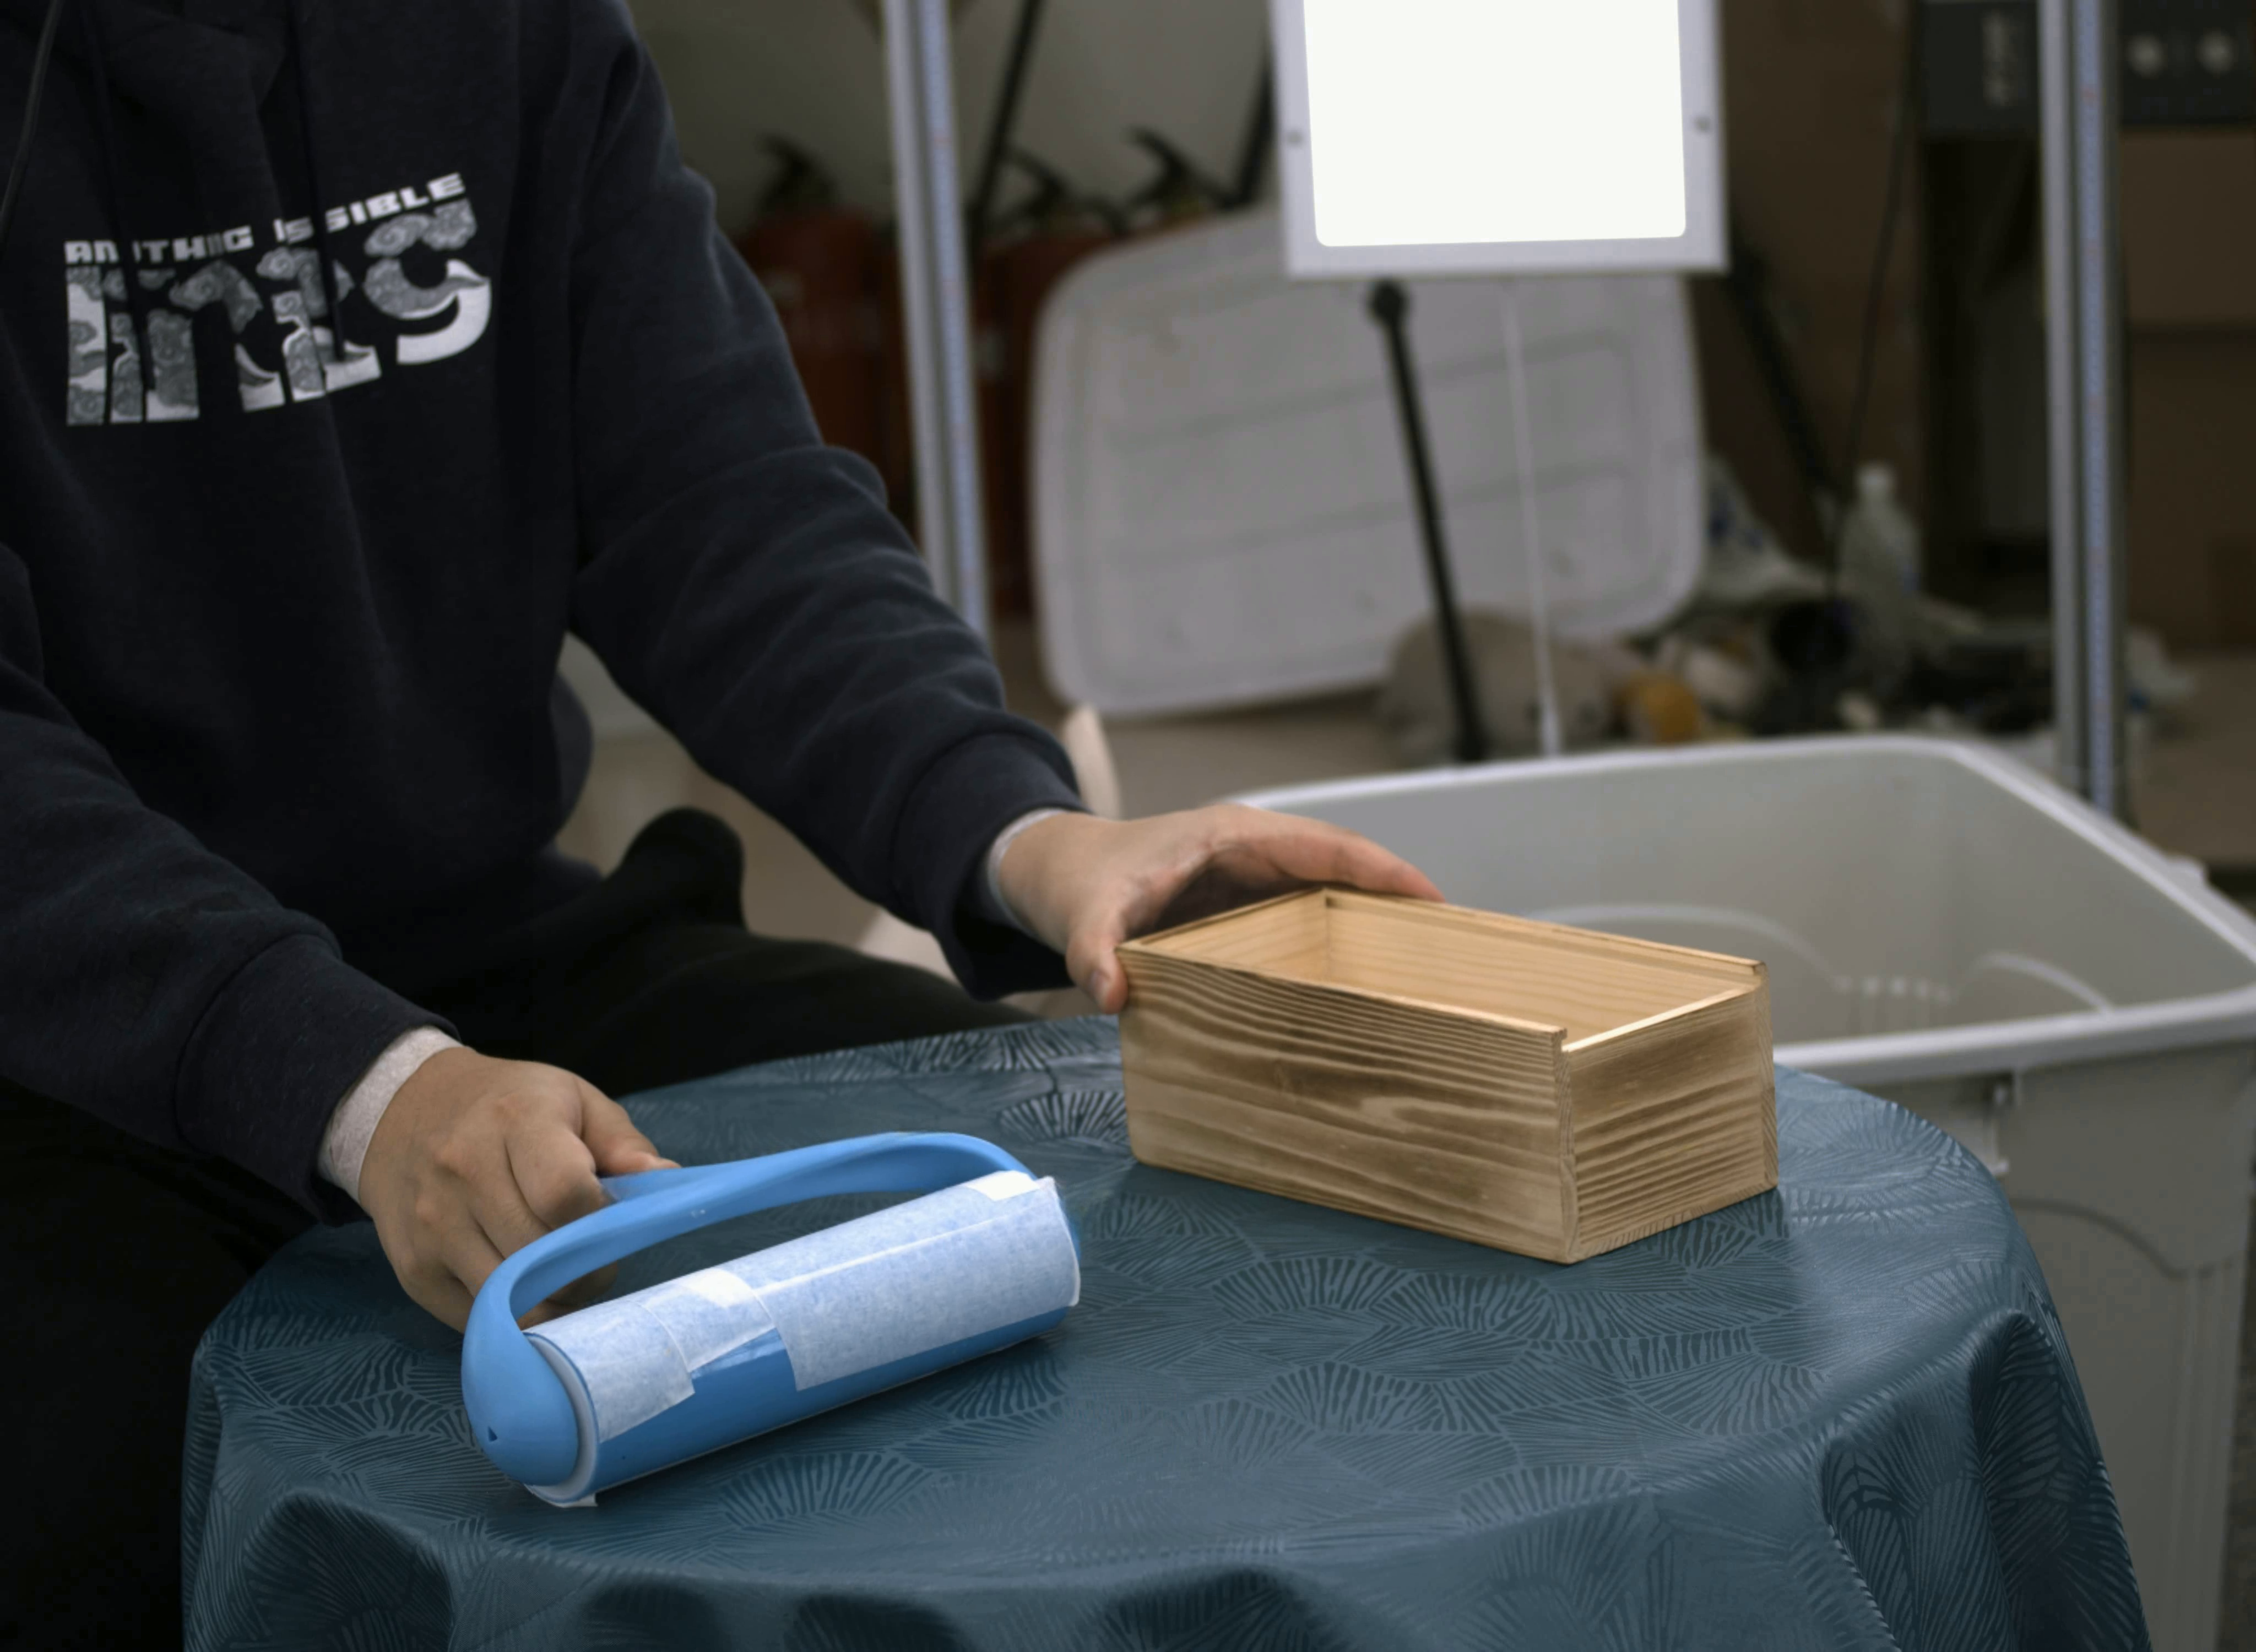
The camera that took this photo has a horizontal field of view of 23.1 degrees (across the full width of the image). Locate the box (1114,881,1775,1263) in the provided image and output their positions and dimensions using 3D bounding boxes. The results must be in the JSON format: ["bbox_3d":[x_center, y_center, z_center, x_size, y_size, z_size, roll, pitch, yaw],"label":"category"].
[{"bbox_3d":[0.107,0.081,1.880,0.105,0.080,0.216,-16,17,-40],"label":"box"}]

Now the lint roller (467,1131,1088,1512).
[{"bbox_3d":[-0.144,0.140,1.739,0.223,0.068,0.184,-20,28,-39],"label":"lint roller"}]
